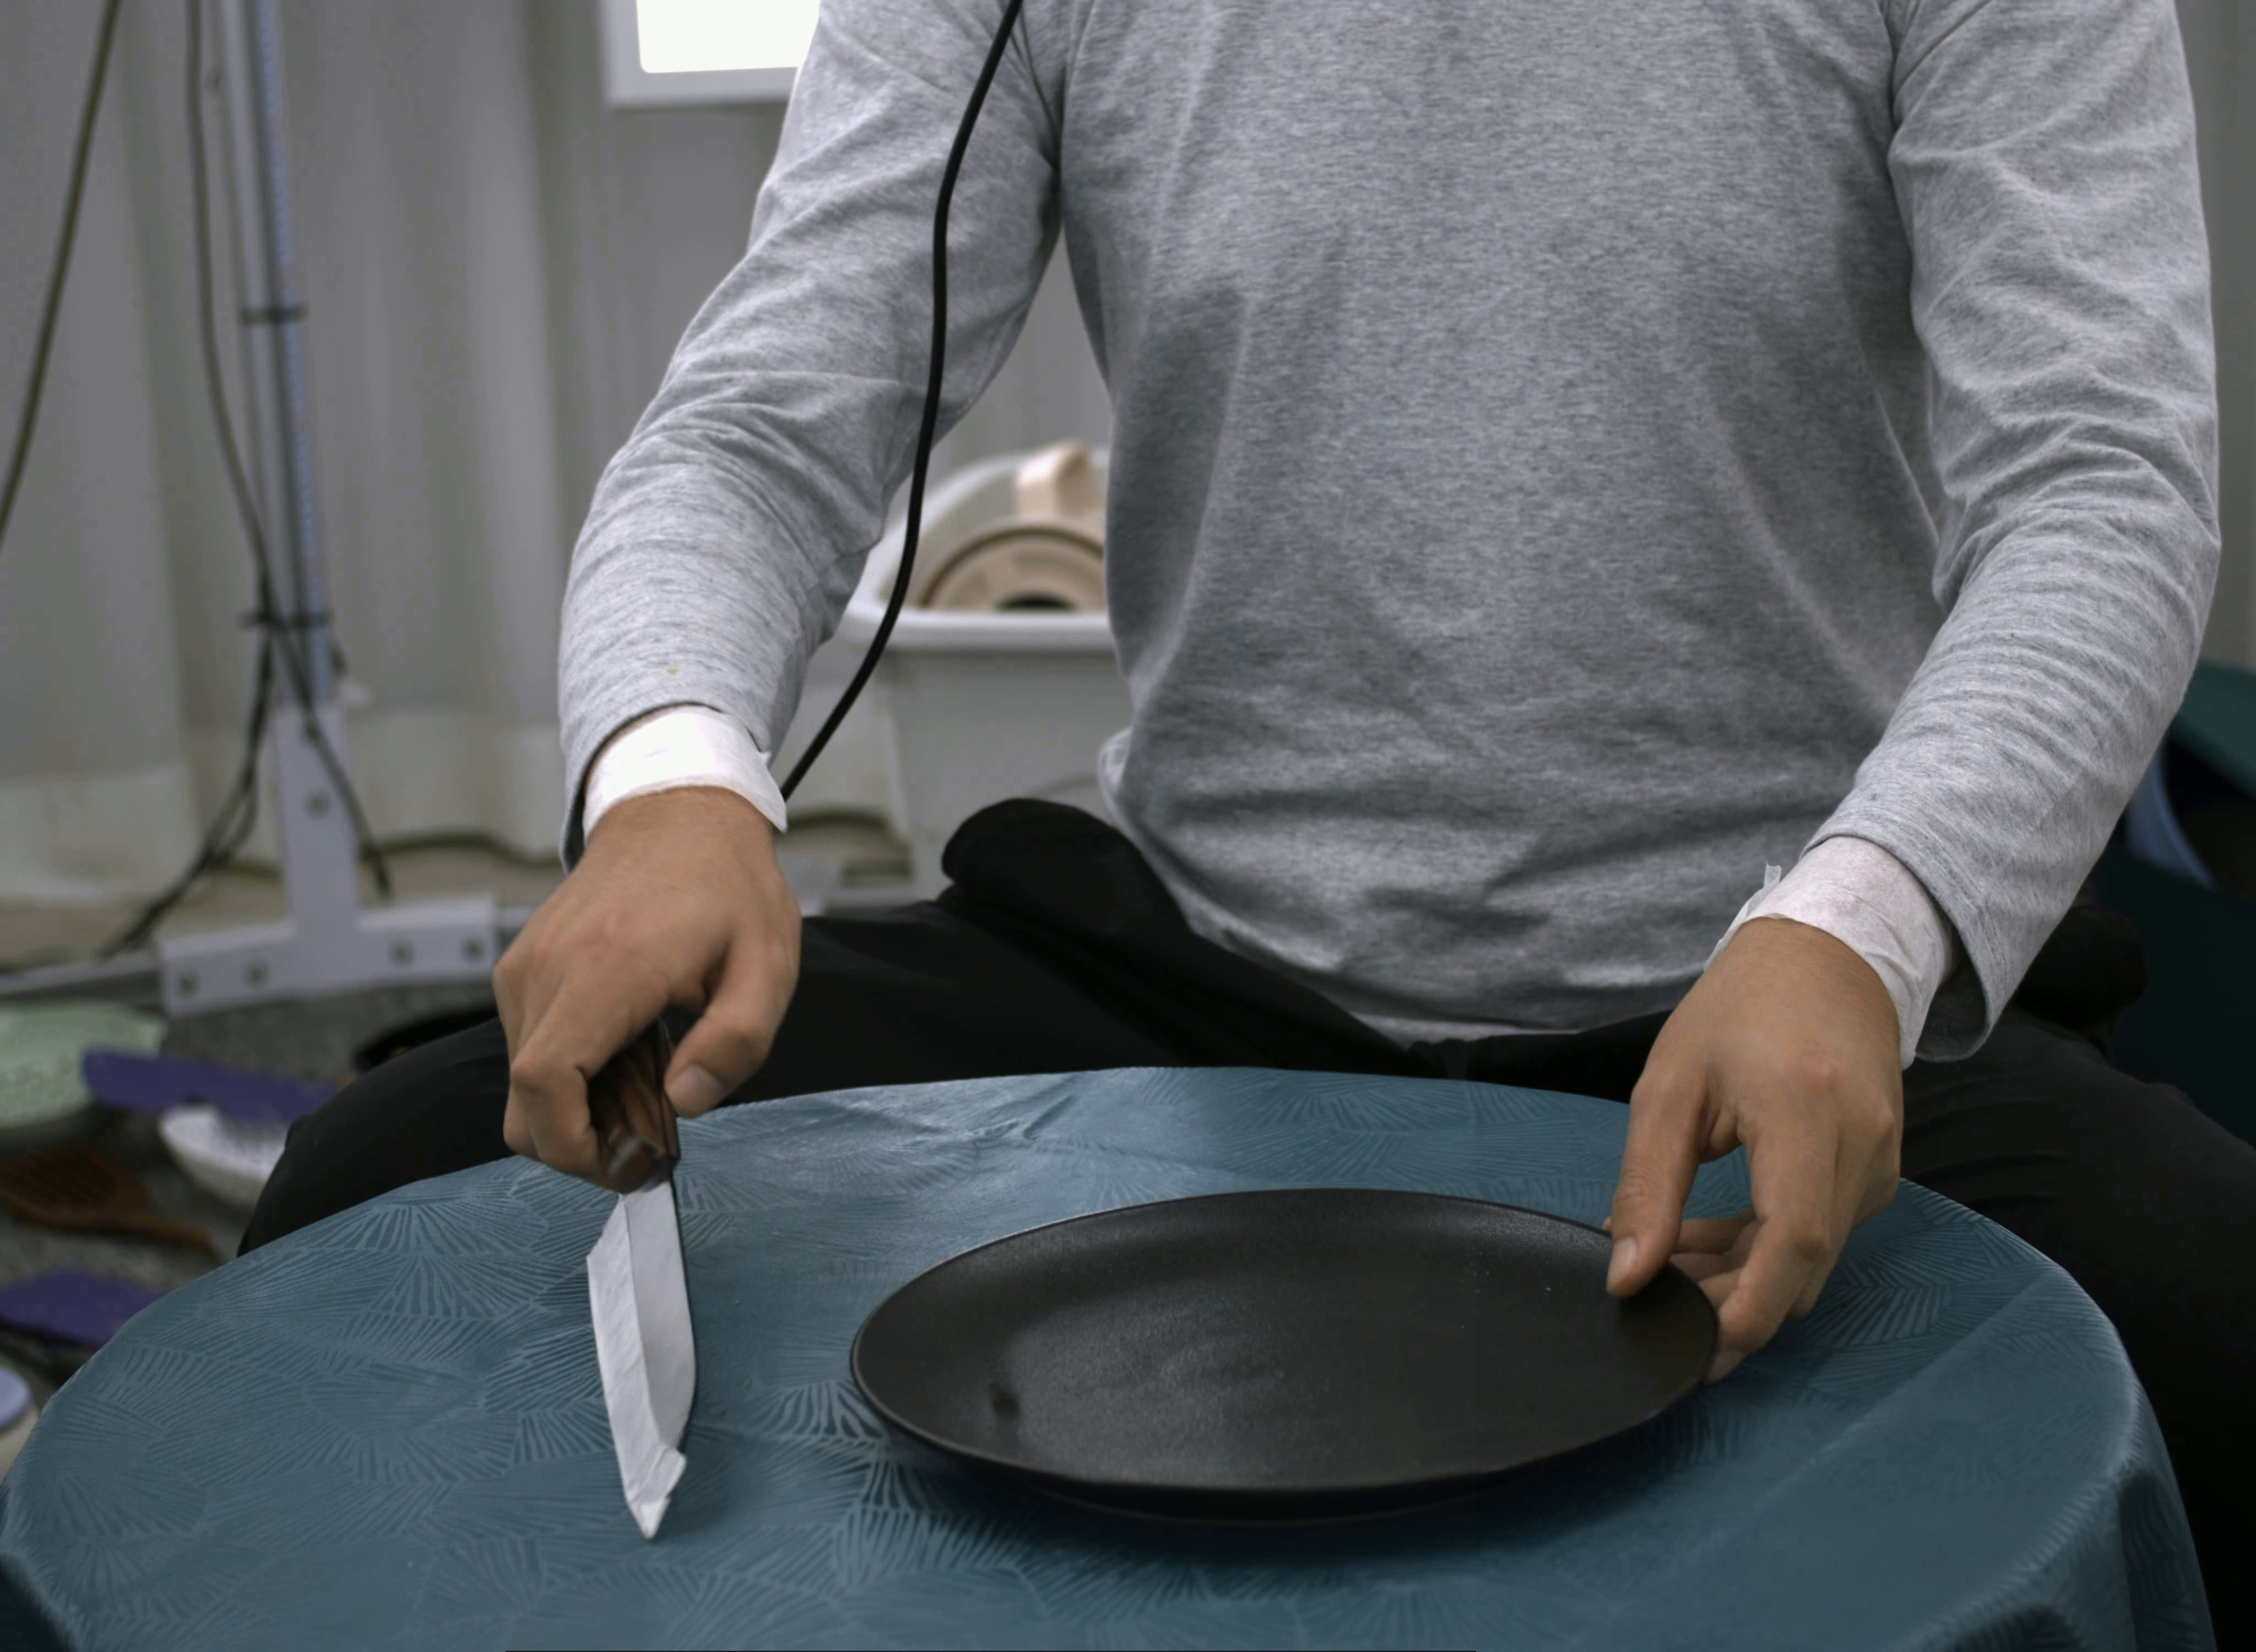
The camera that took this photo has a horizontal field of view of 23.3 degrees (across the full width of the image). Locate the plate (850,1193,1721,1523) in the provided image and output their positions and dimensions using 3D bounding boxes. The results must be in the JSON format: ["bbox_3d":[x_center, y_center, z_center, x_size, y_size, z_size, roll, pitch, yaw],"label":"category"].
[{"bbox_3d":[0.044,0.151,1.528,0.243,0.023,0.246,-3,15,0],"label":"plate"}]

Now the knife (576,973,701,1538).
[{"bbox_3d":[-0.142,0.119,1.578,0.020,0.050,0.293,29,20,-20],"label":"knife"}]
